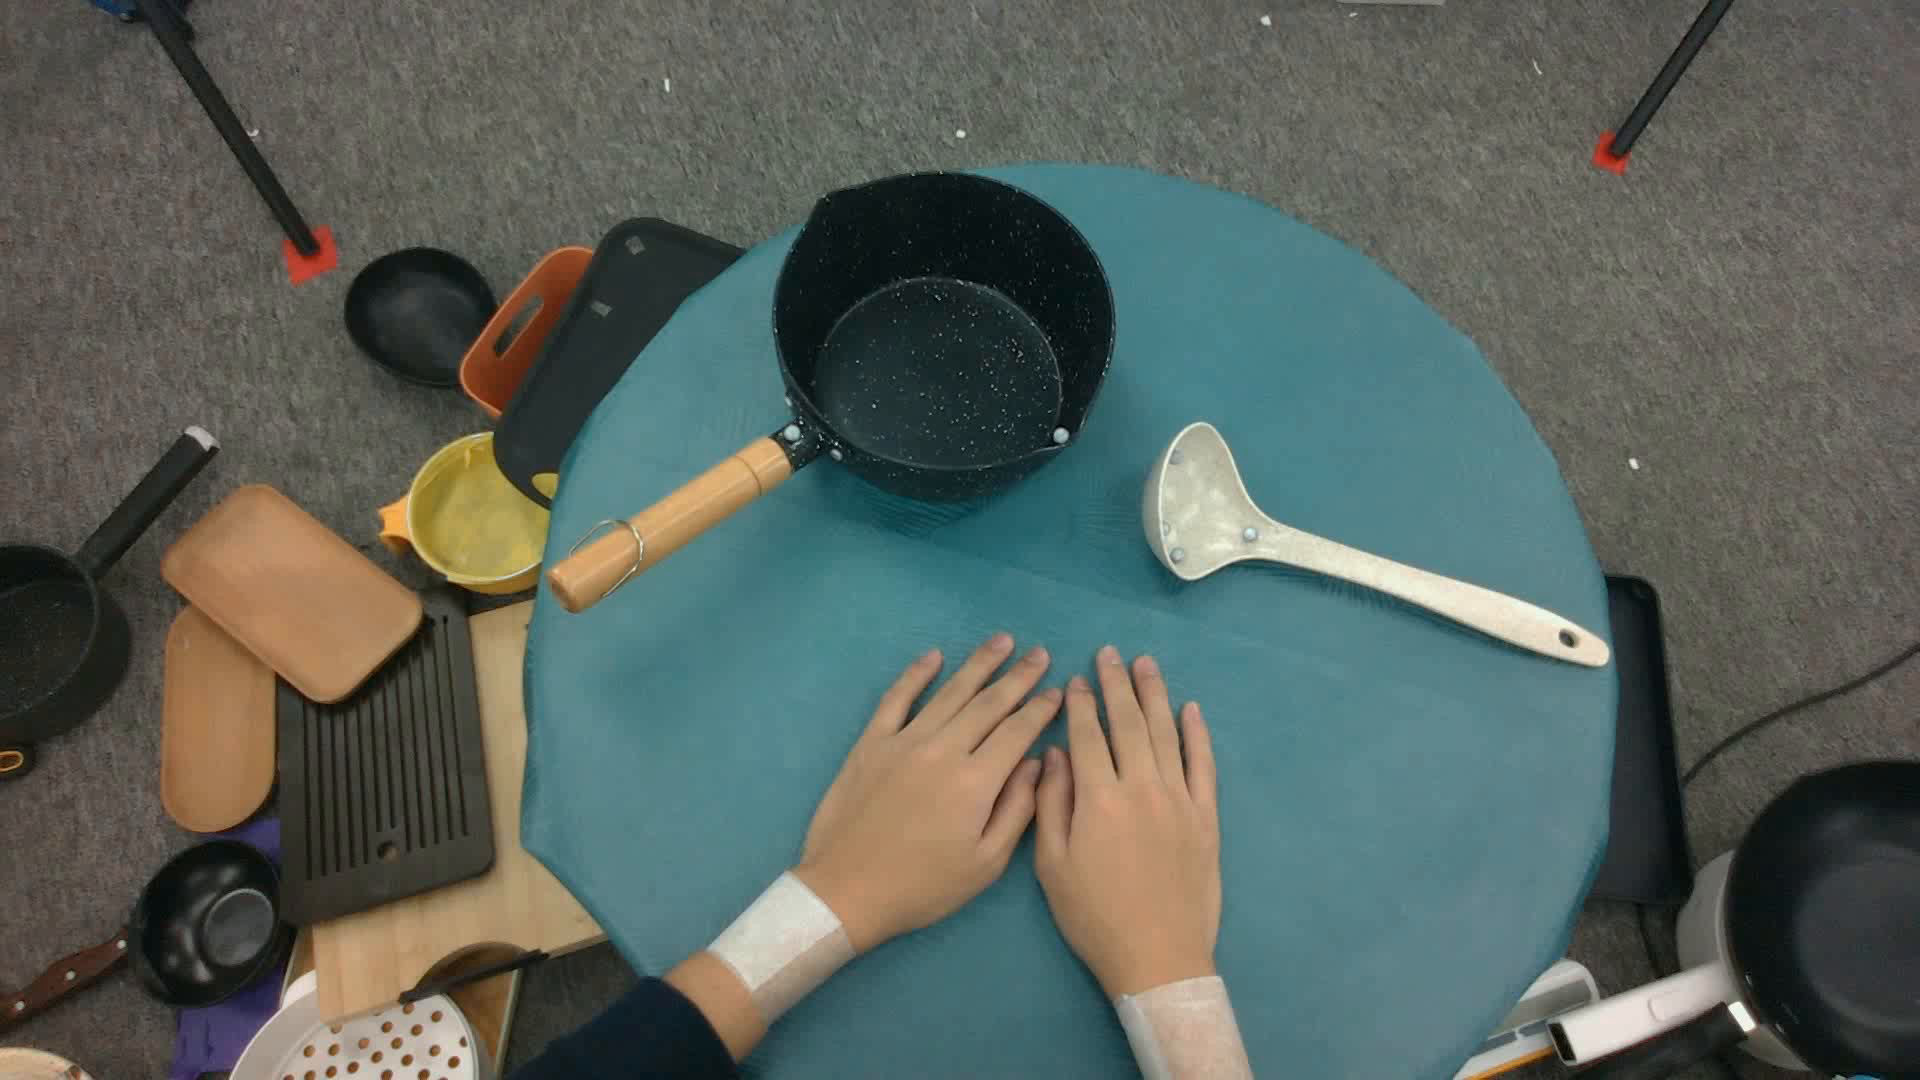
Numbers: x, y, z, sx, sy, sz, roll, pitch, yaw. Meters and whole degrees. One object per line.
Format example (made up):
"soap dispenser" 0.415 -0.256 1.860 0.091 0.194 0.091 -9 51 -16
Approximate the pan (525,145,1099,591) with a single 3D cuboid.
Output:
"pan" -0.076 -0.071 0.733 0.344 0.108 0.207 -42 78 -19

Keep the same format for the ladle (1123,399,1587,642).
"ladle" 0.222 -0.001 0.750 0.275 0.069 0.090 17 65 3
